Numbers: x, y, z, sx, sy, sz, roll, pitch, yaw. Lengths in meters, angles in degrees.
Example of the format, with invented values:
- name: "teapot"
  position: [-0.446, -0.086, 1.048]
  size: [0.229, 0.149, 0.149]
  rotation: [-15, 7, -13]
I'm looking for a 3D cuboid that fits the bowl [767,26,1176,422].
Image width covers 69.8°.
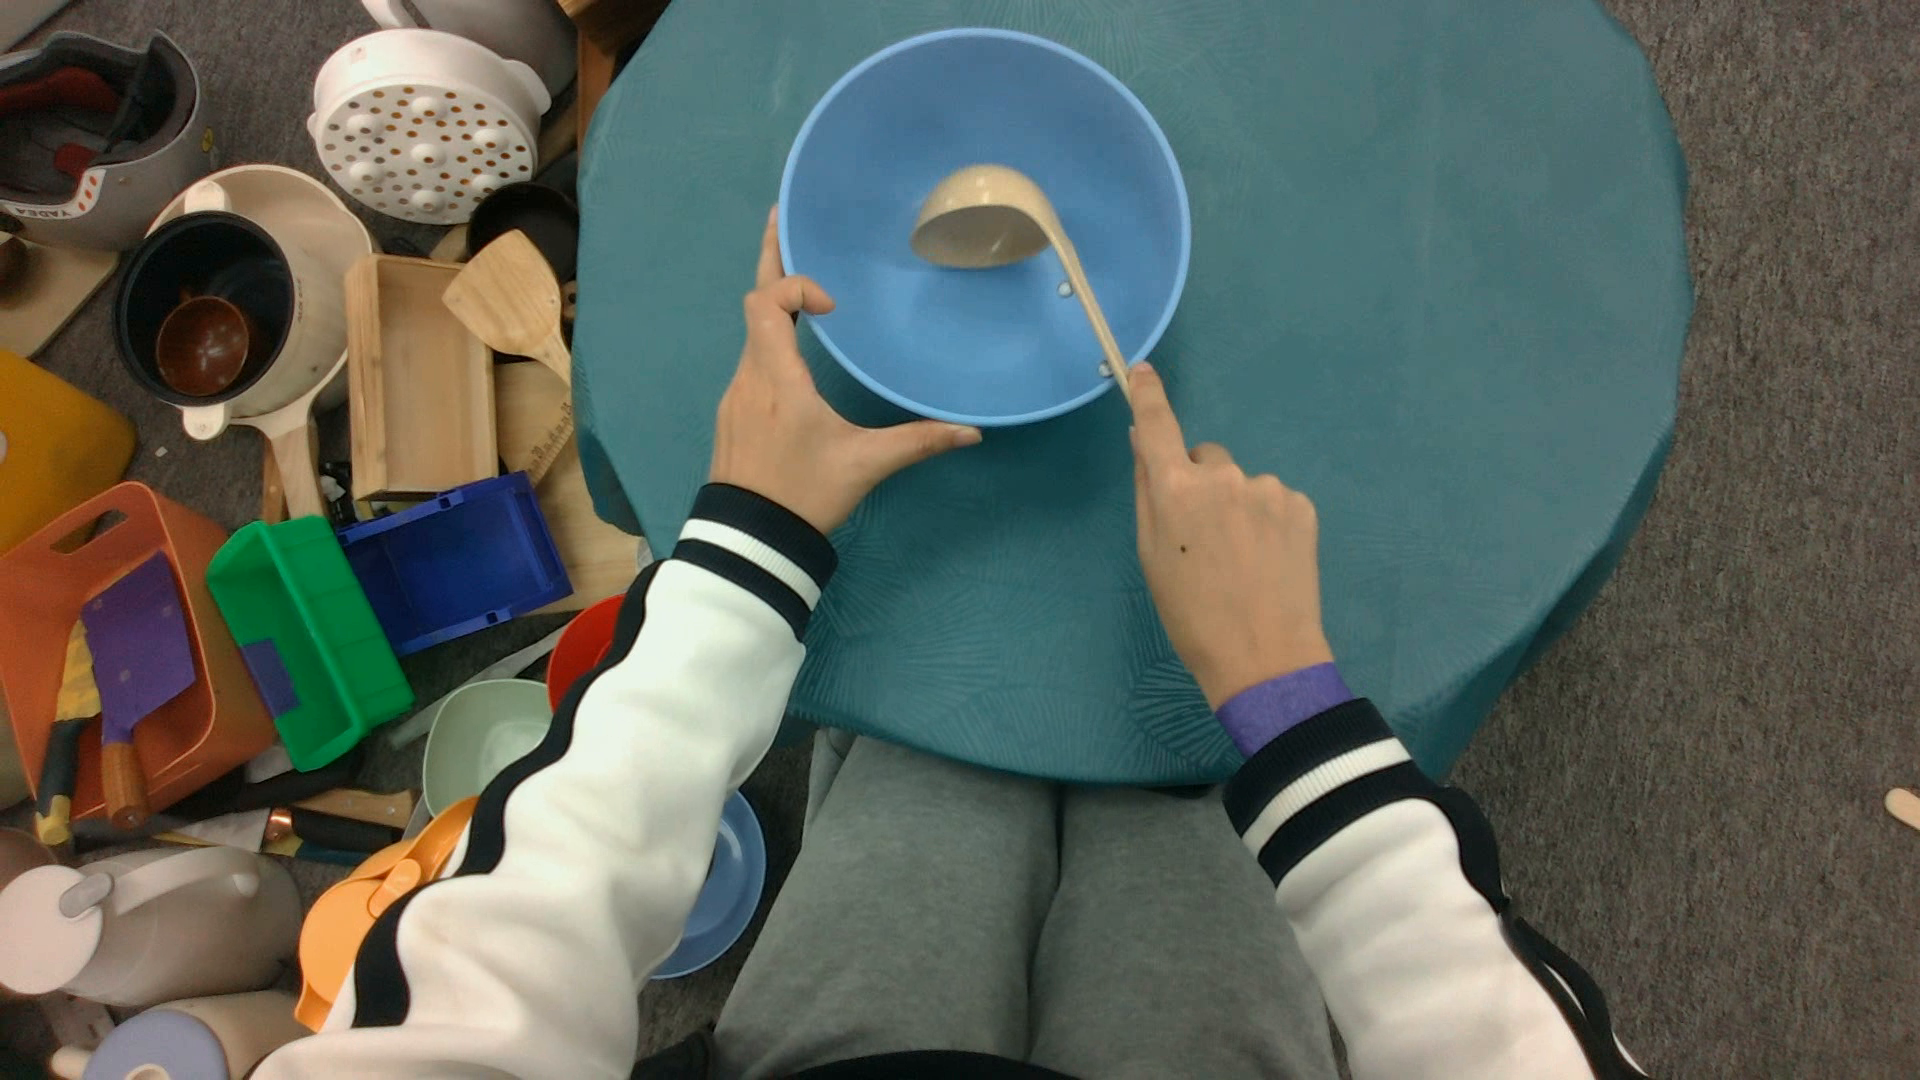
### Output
- name: "bowl"
  position: [0.001, -0.146, 0.696]
  size: [0.196, 0.095, 0.197]
  rotation: [1, 81, -8]

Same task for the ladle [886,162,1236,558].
- name: "ladle"
  position: [0.039, -0.076, 0.645]
  size: [0.072, 0.072, 0.255]
  rotation: [-35, 61, 18]
